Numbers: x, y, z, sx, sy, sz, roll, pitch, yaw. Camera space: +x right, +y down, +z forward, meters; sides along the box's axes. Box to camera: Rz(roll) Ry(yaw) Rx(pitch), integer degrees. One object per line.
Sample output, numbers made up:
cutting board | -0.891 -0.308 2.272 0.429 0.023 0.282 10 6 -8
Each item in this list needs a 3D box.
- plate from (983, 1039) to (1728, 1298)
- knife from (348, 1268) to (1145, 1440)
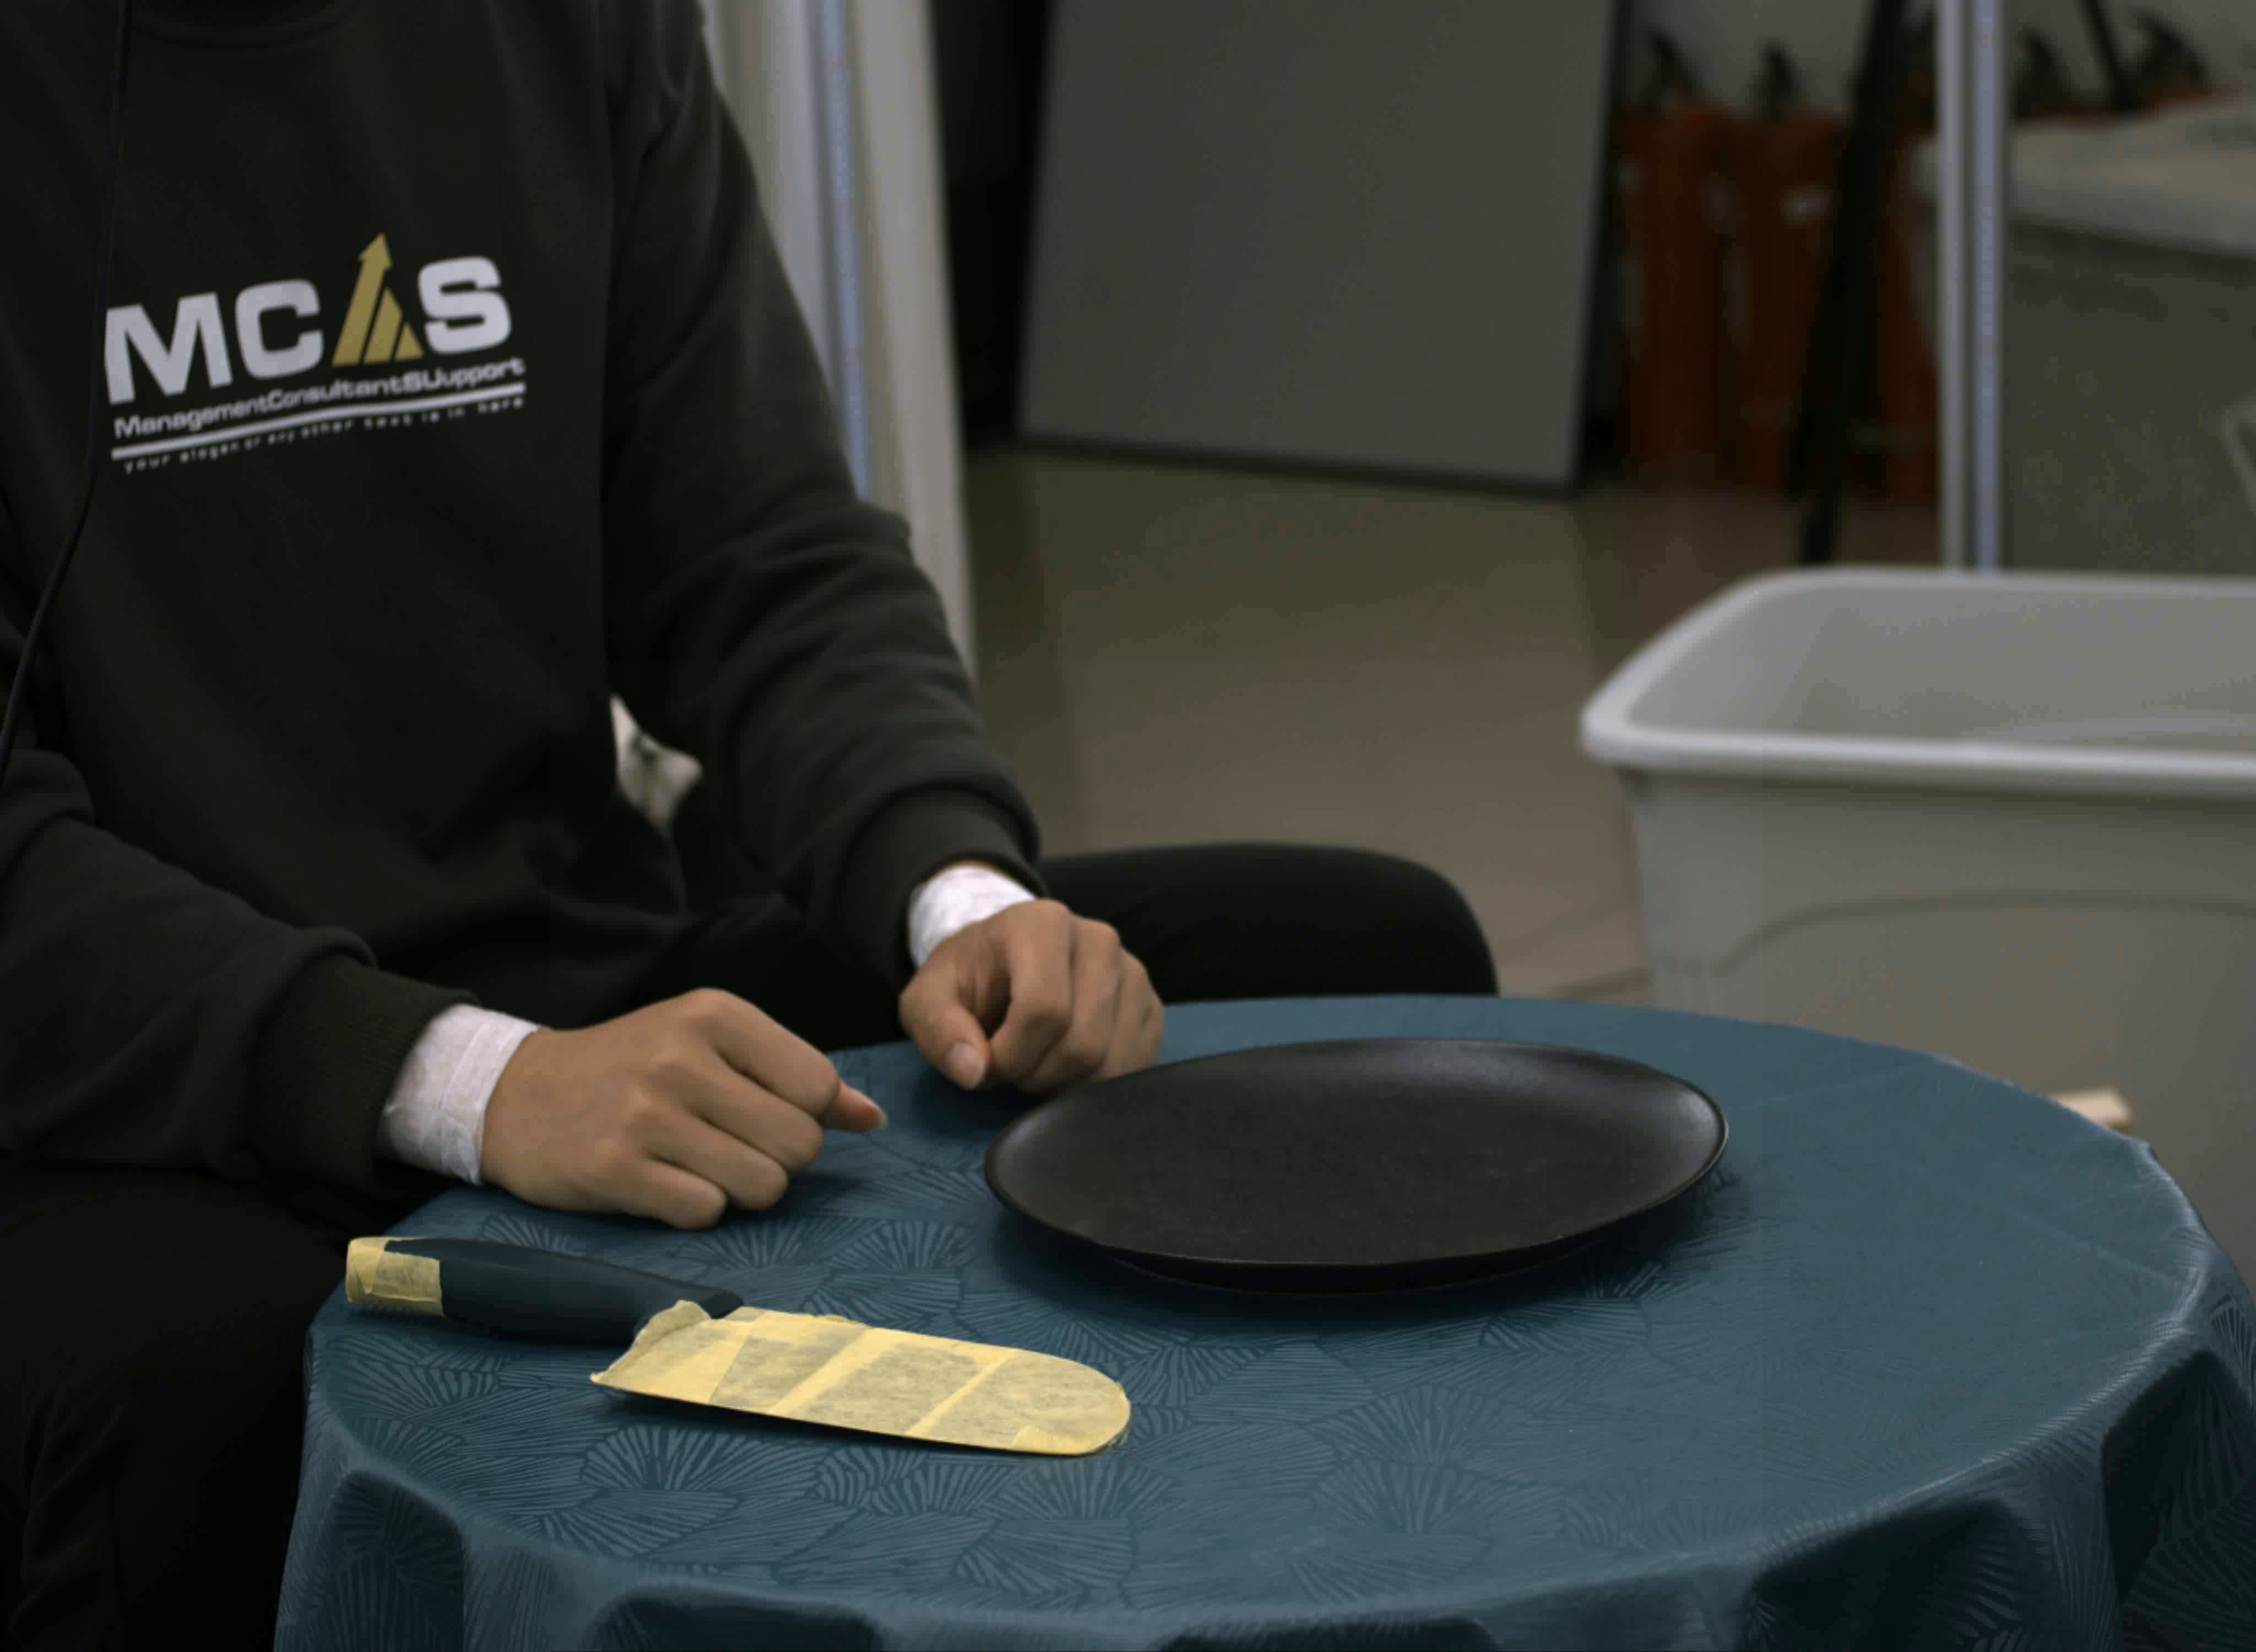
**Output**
plate | 0.074 0.113 1.739 0.241 0.024 0.245 -4 13 0
knife | -0.122 0.161 1.619 0.290 0.027 0.080 4 14 29
